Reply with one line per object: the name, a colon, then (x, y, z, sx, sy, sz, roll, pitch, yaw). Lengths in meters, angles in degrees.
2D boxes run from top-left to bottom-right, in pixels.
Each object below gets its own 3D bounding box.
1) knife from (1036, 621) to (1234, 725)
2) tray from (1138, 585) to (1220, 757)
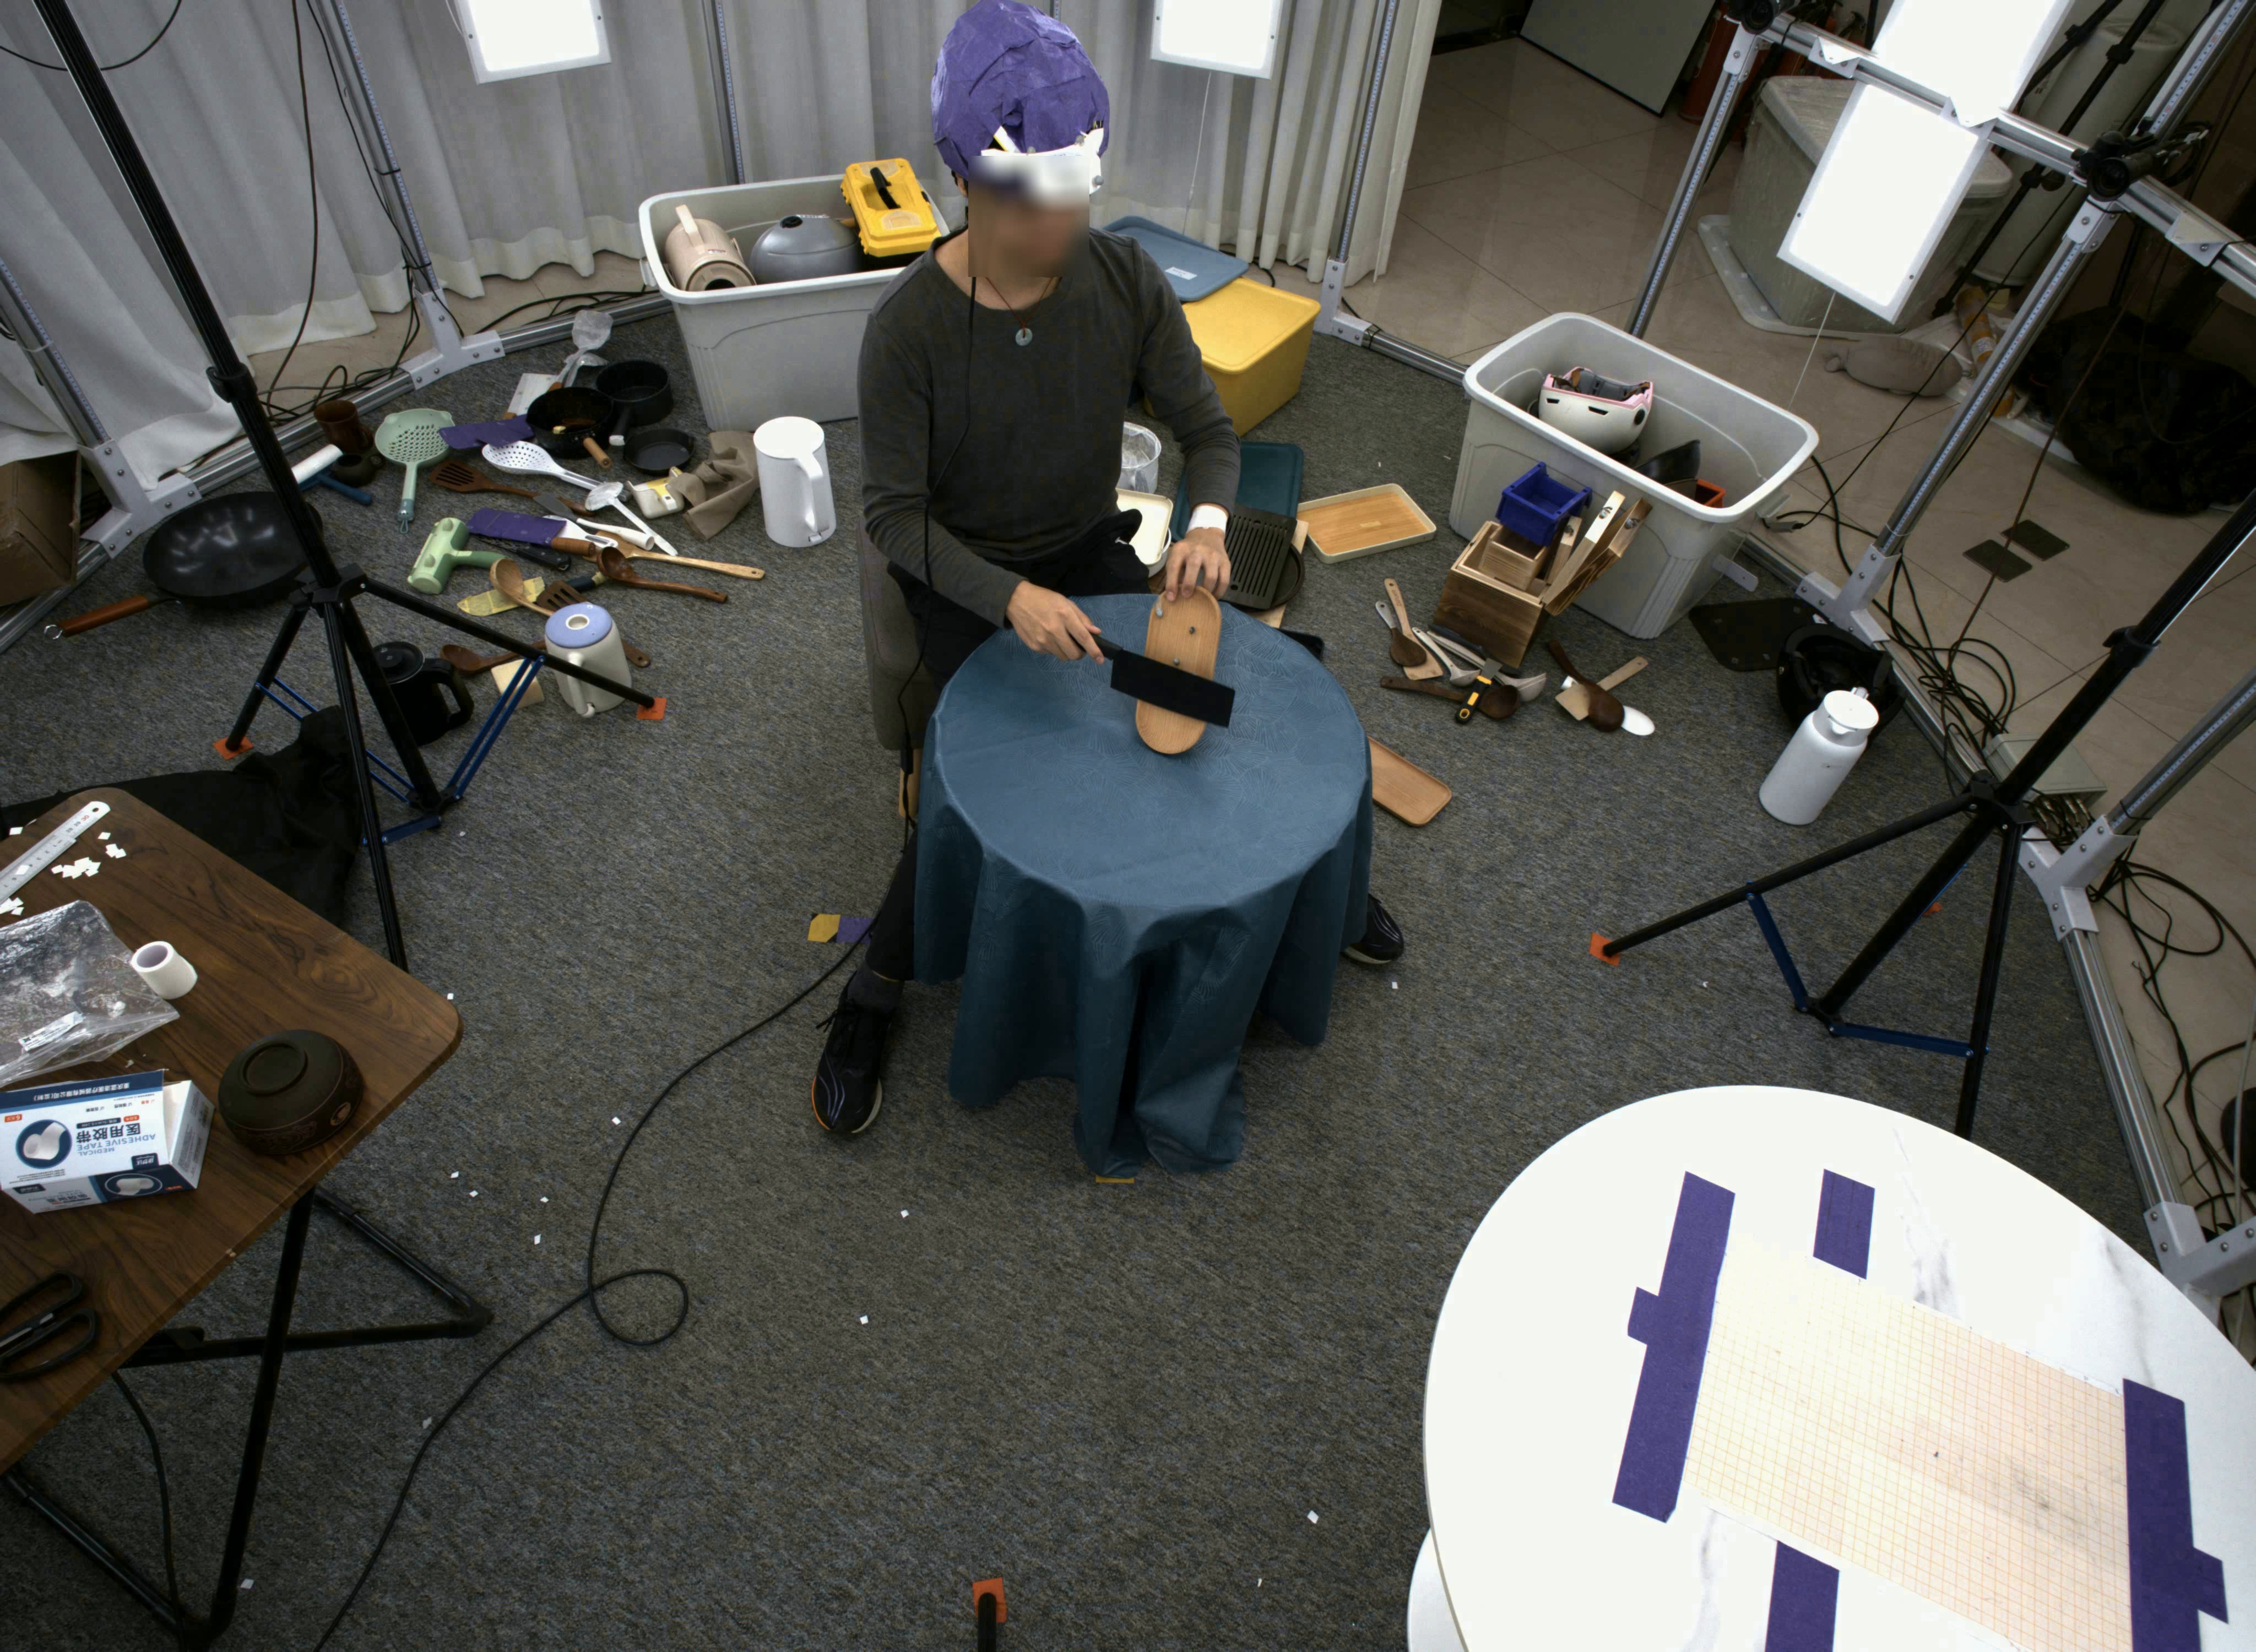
knife: (0.006, -0.211, 1.738, 0.305, 0.079, 0.021, 26, 39, 18)
tray: (0.070, -0.210, 1.740, 0.102, 0.230, 0.020, 7, 5, 23)
